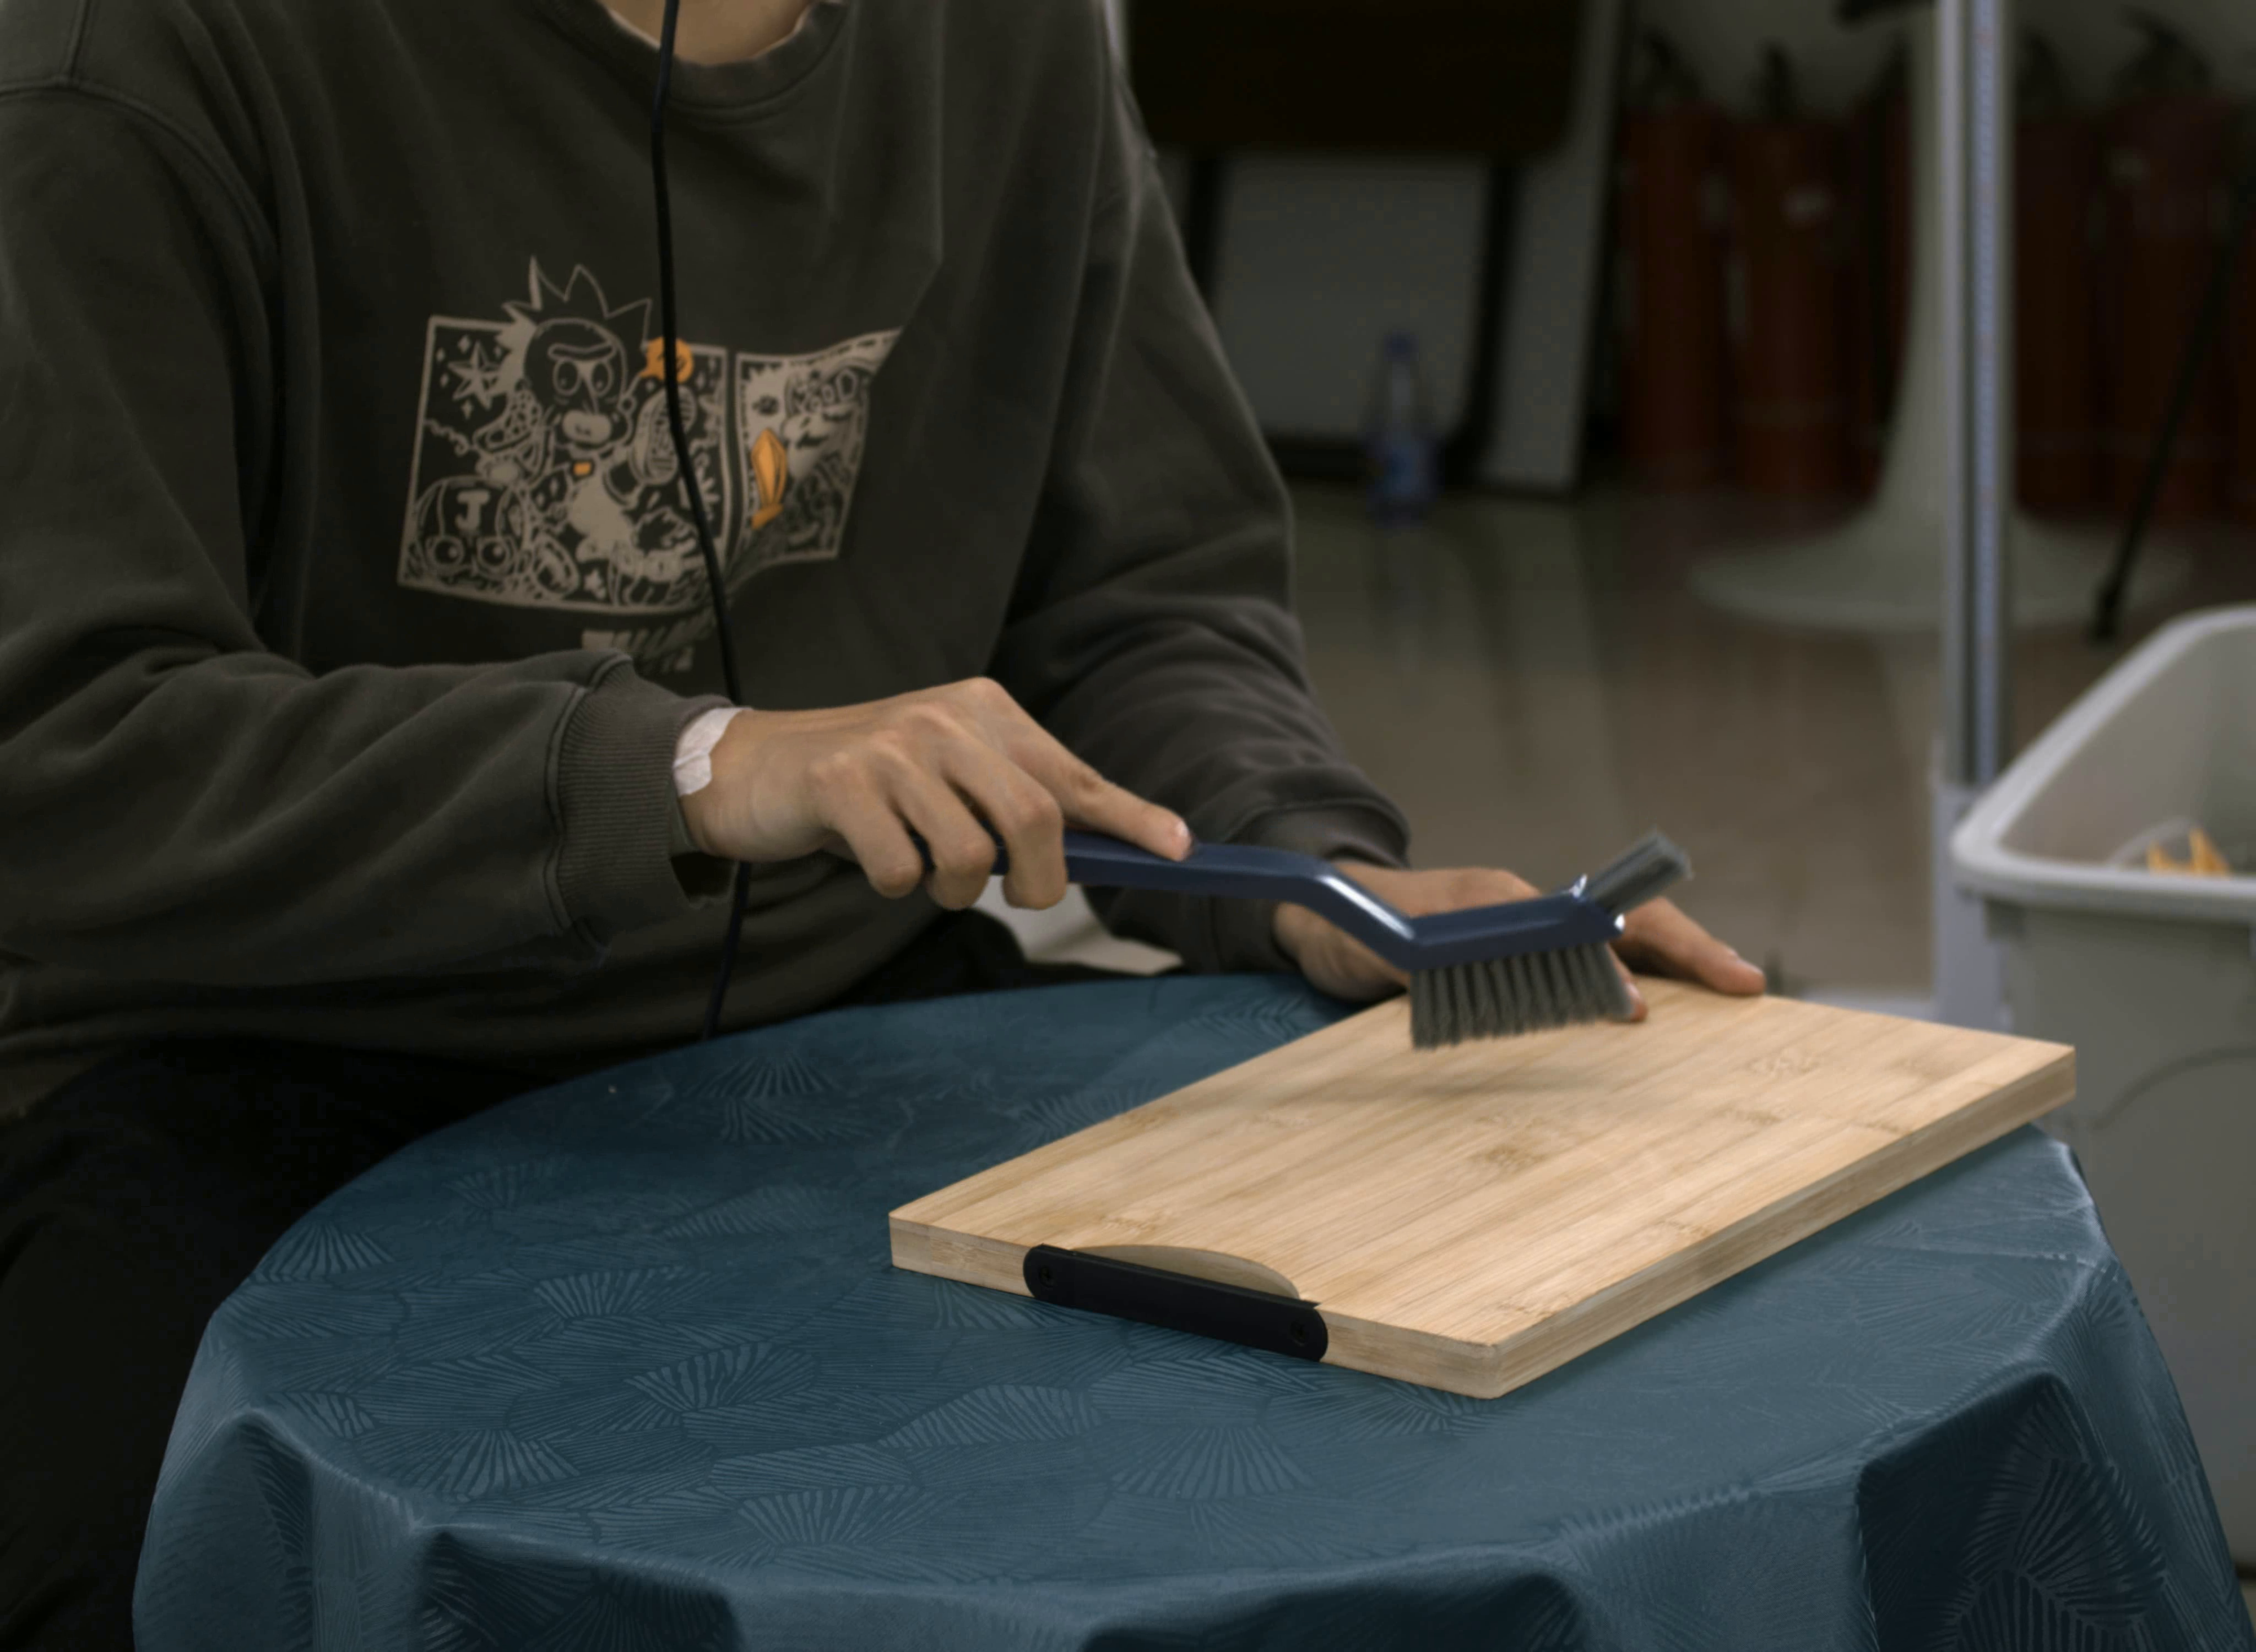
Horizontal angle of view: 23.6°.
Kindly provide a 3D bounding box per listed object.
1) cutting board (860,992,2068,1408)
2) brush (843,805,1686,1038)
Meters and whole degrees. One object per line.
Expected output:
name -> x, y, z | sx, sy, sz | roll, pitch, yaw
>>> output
cutting board -> 0.117, 0.112, 1.751 | 0.252, 0.024, 0.342 | 6, 17, 39
brush -> 0.043, 0.011, 1.787 | 0.269, 0.097, 0.033 | 13, 23, -3
